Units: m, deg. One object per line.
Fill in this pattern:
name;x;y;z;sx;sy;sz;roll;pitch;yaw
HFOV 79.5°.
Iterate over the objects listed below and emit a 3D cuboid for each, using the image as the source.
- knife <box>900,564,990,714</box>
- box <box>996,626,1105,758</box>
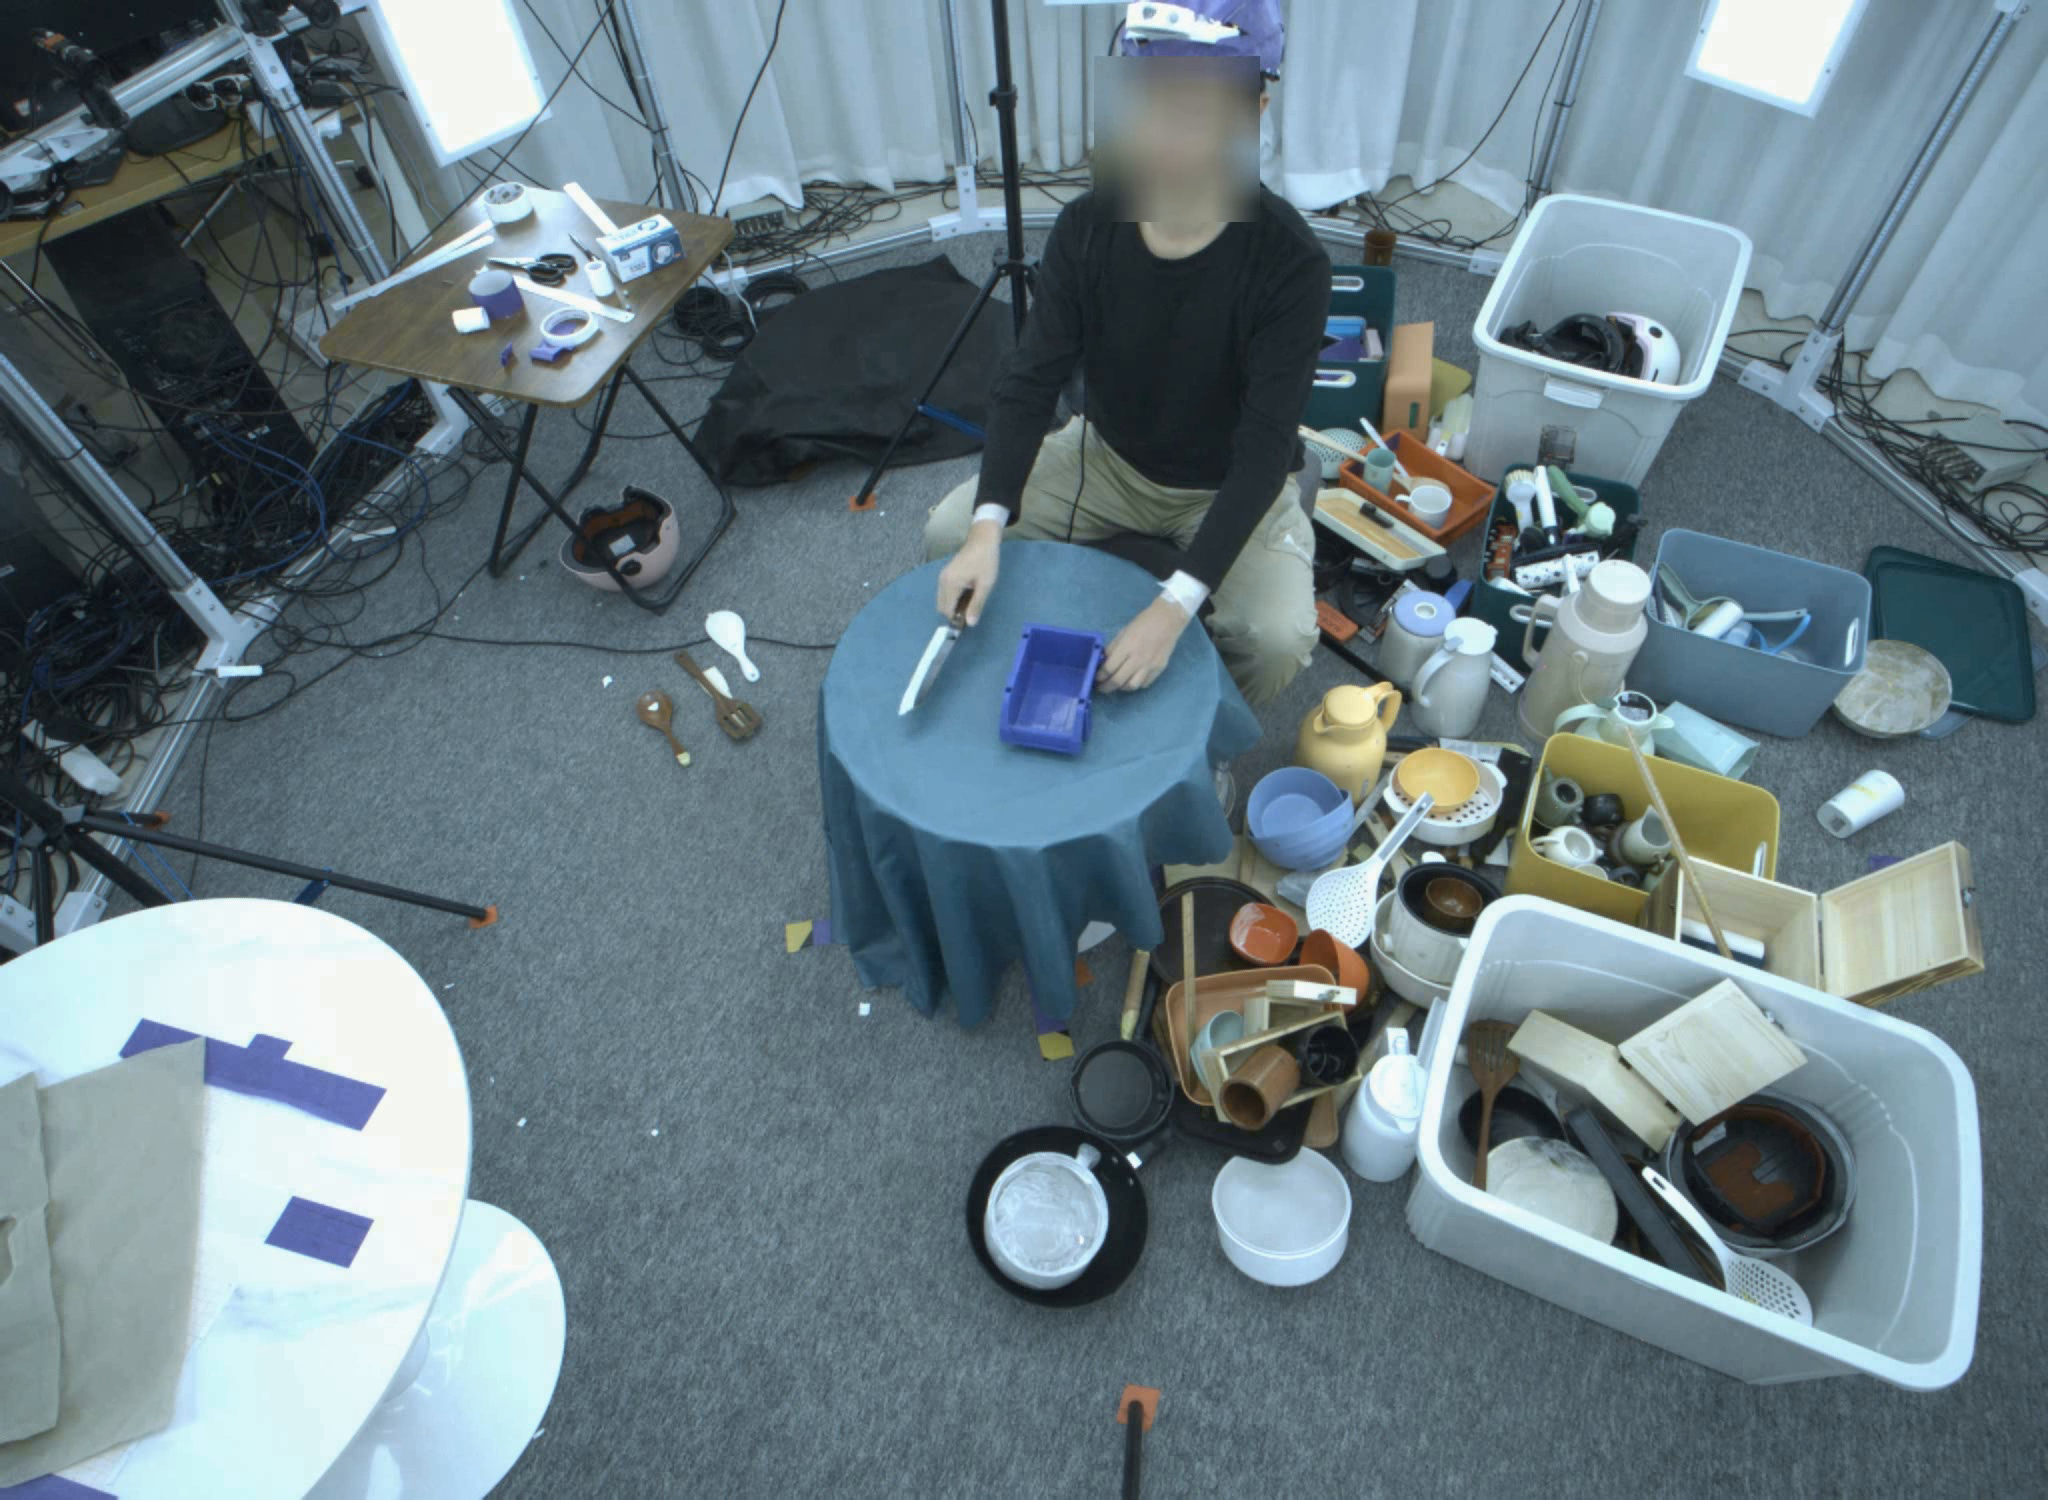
knife;-0.119;-0.168;1.843;0.049;0.020;0.289;9;59;33
box;0.041;-0.081;1.793;0.123;0.083;0.179;11;54;10
